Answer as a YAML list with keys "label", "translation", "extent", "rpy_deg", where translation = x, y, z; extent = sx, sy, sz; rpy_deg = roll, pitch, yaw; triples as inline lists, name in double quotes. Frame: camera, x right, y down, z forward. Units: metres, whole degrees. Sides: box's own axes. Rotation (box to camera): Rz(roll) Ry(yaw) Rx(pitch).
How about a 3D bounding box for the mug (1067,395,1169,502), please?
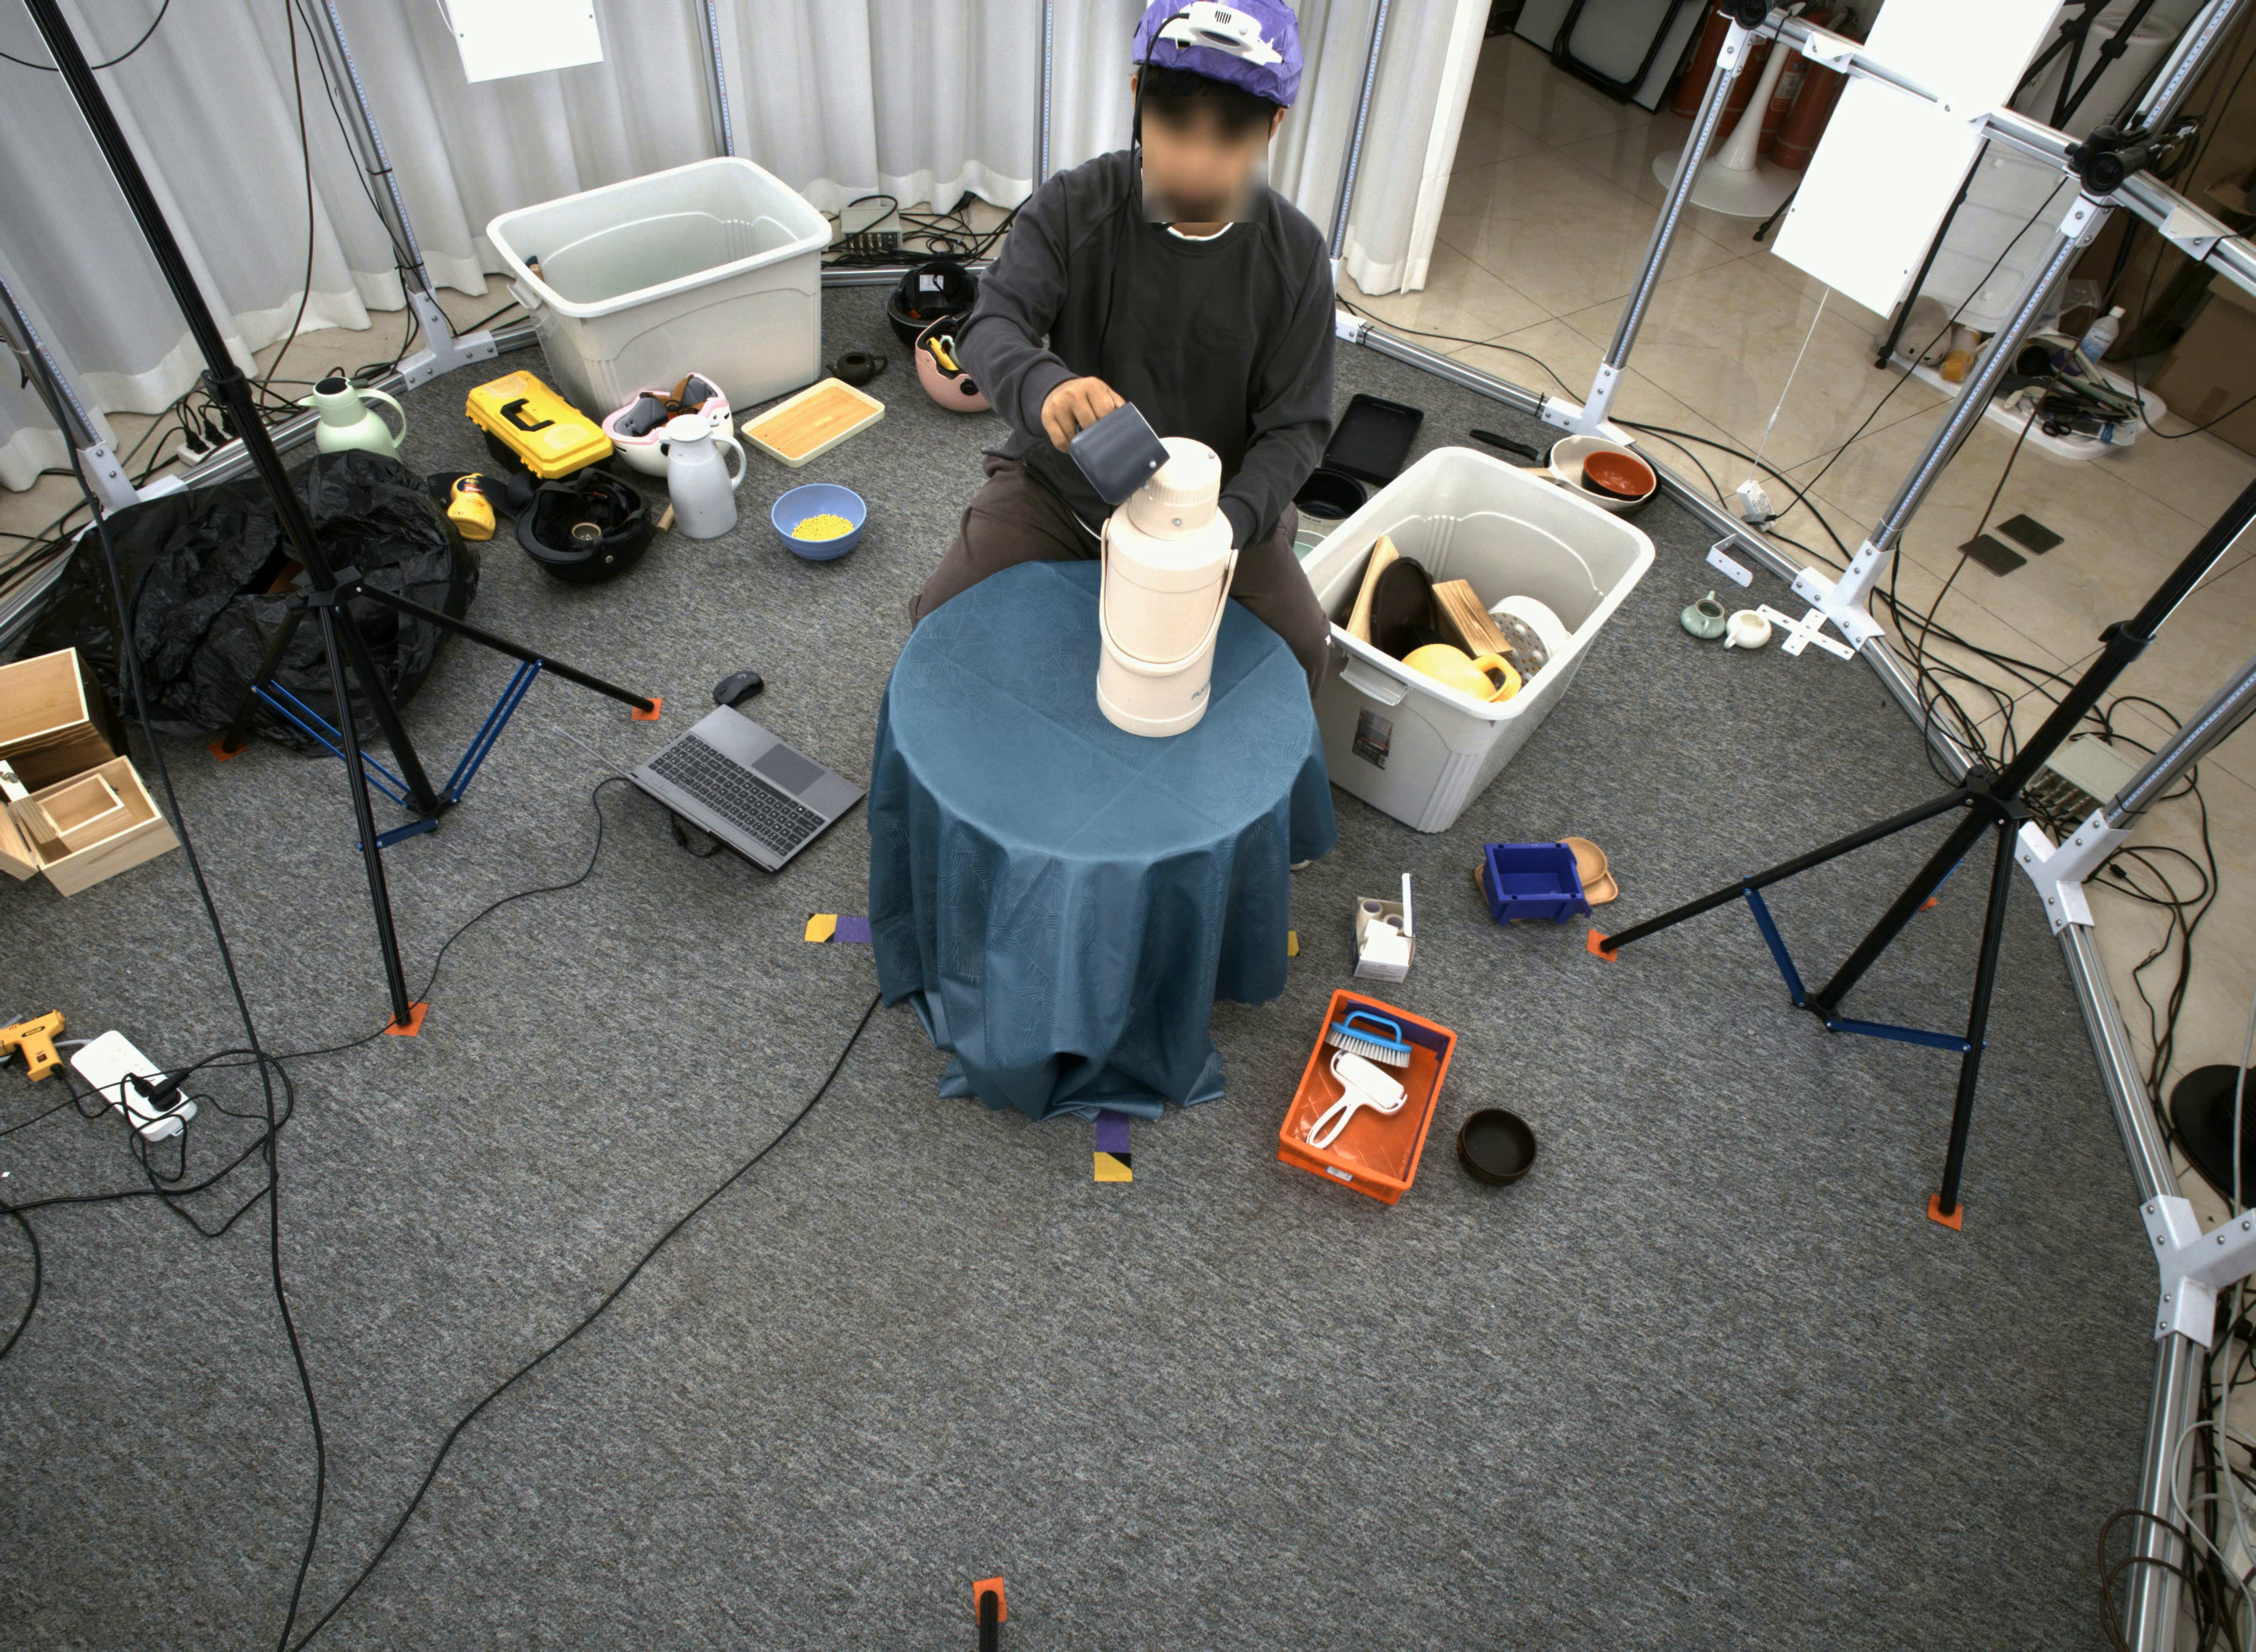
- label: "mug"
  translation: [-0.018, -0.439, 1.477]
  extent: [0.089, 0.092, 0.126]
  rpy_deg: [-37, 56, 8]

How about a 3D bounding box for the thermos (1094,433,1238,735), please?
- label: "thermos"
  translation: [0.051, -0.320, 1.691]
  extent: [0.176, 0.396, 0.211]
  rpy_deg: [15, 50, 8]
